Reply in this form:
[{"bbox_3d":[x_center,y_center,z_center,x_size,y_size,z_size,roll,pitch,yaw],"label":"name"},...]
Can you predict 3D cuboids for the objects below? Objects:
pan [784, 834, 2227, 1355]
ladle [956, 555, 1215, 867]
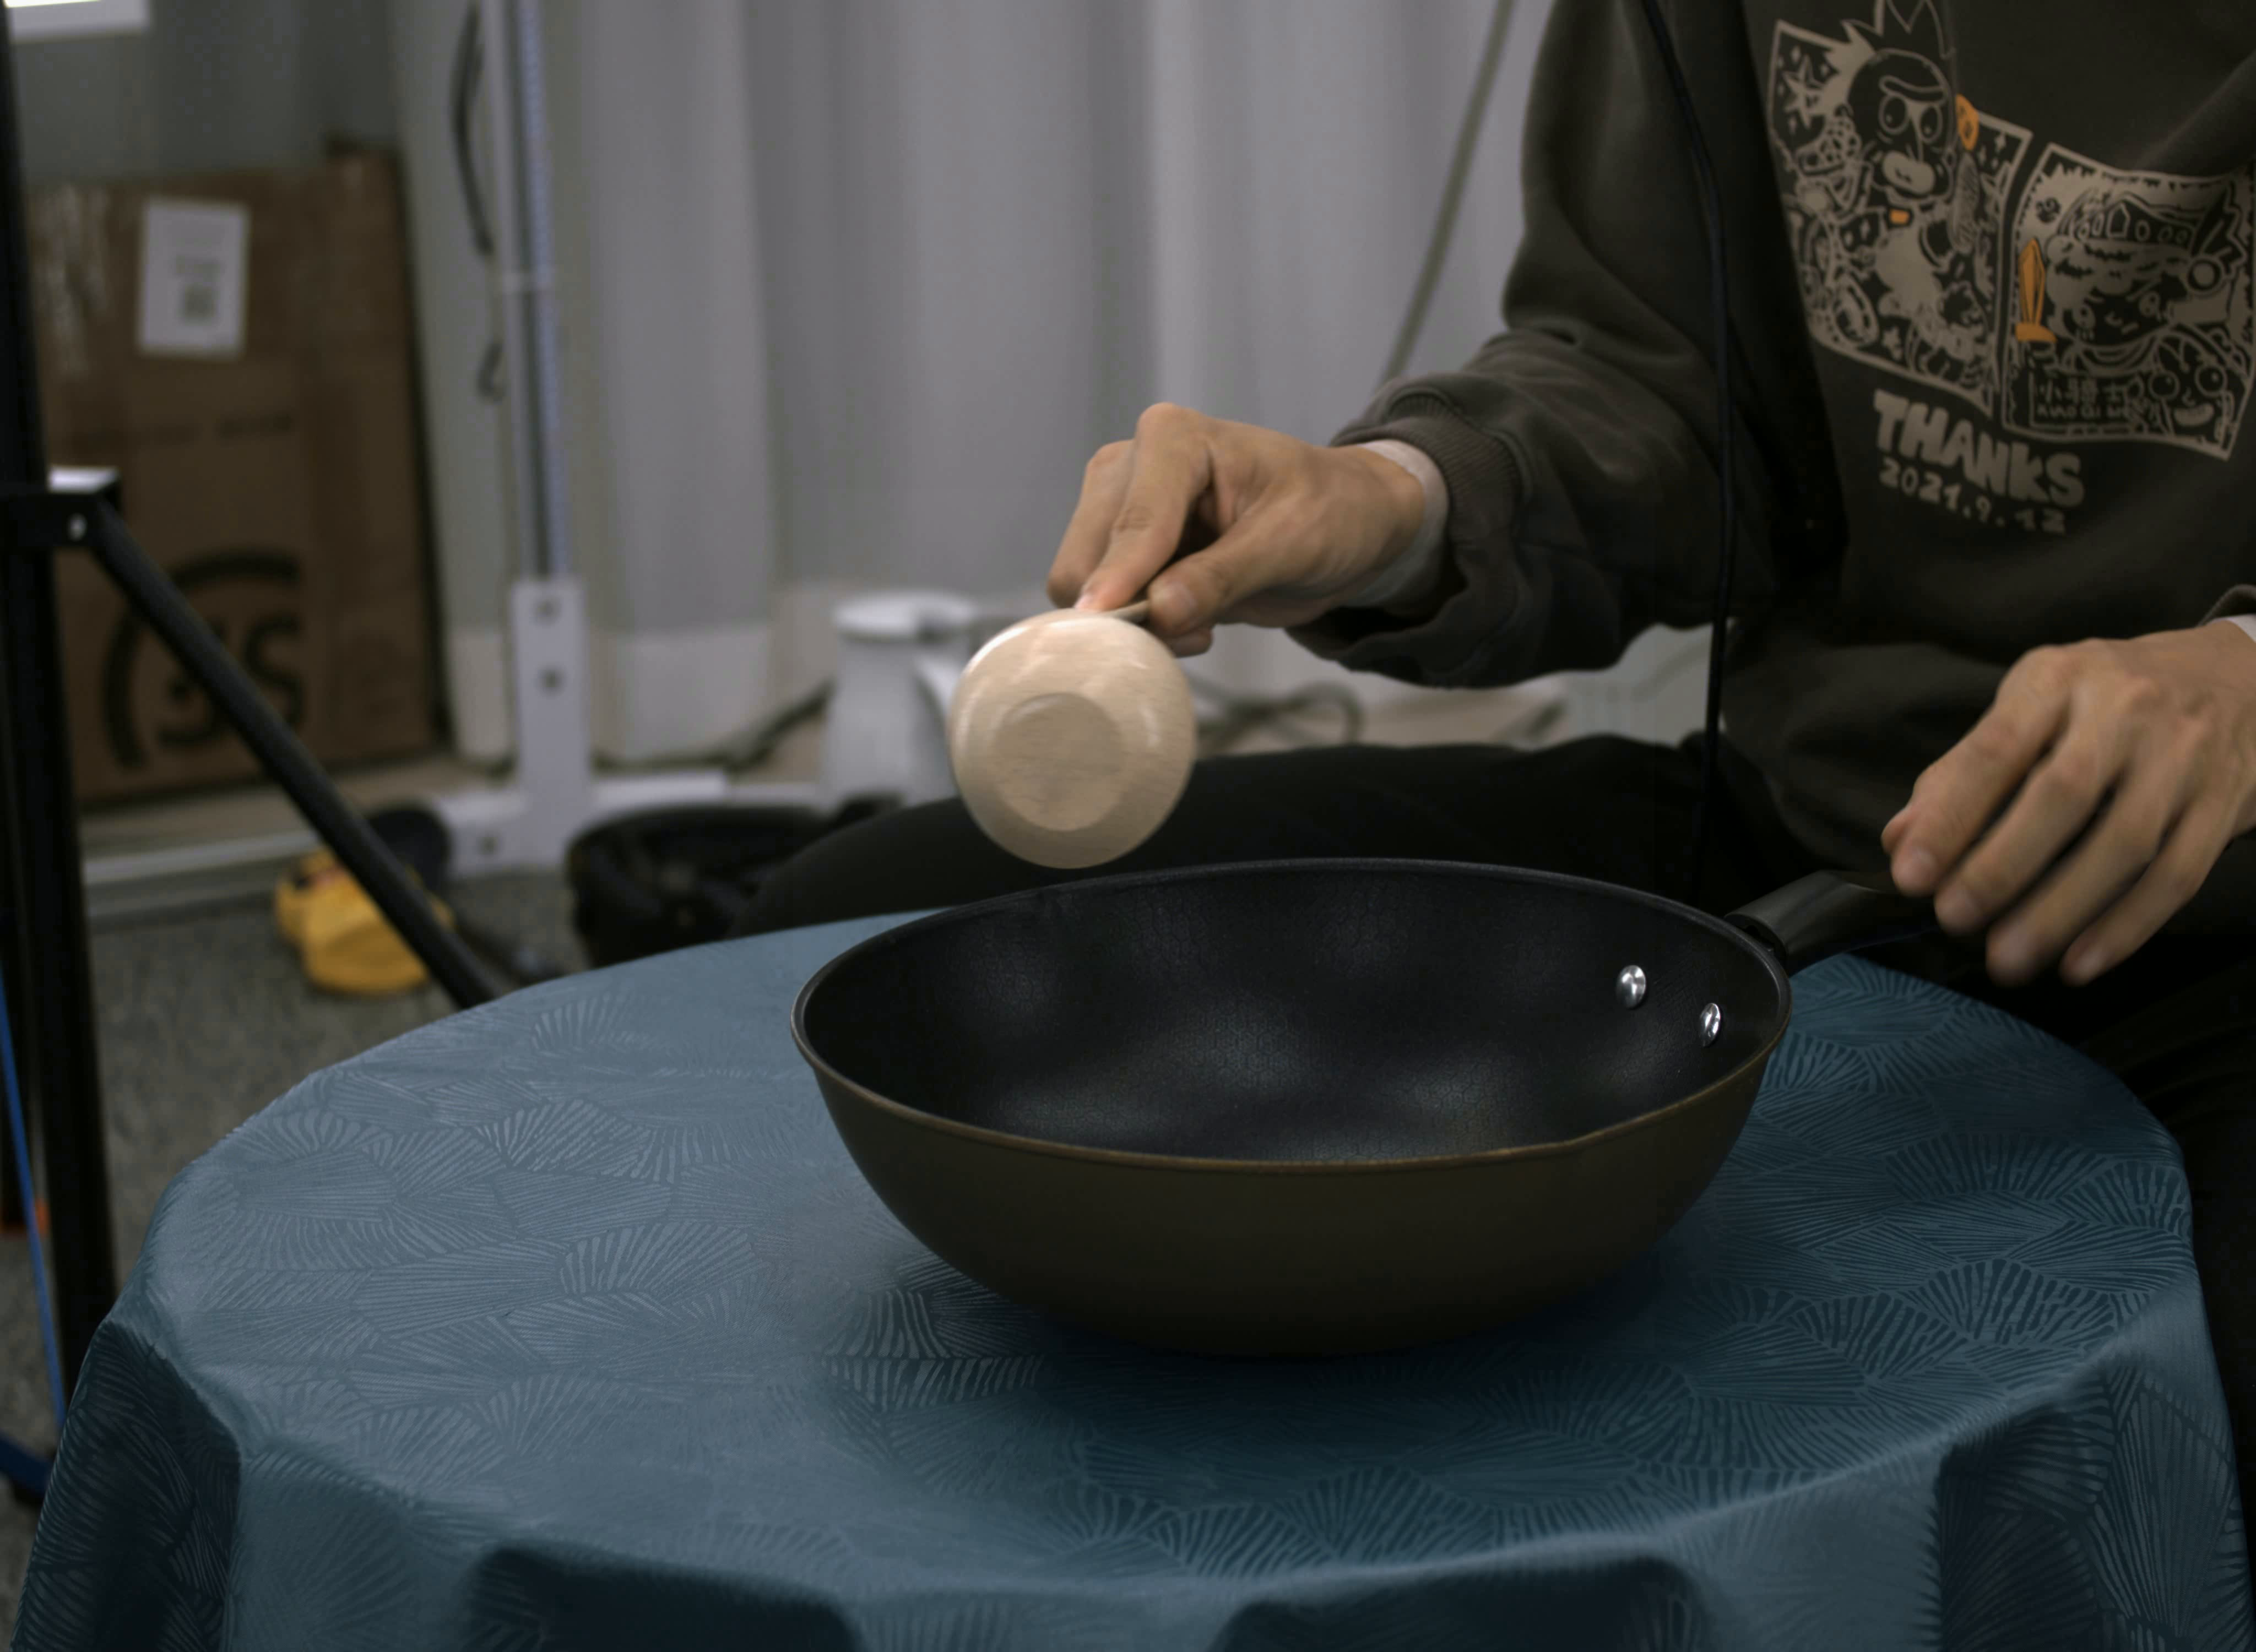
[{"bbox_3d":[0.124,0.070,1.524,0.453,0.087,0.294,-9,17,-25],"label":"pan"},{"bbox_3d":[0.006,-0.037,1.601,0.072,0.073,0.252,-18,2,13],"label":"ladle"}]
